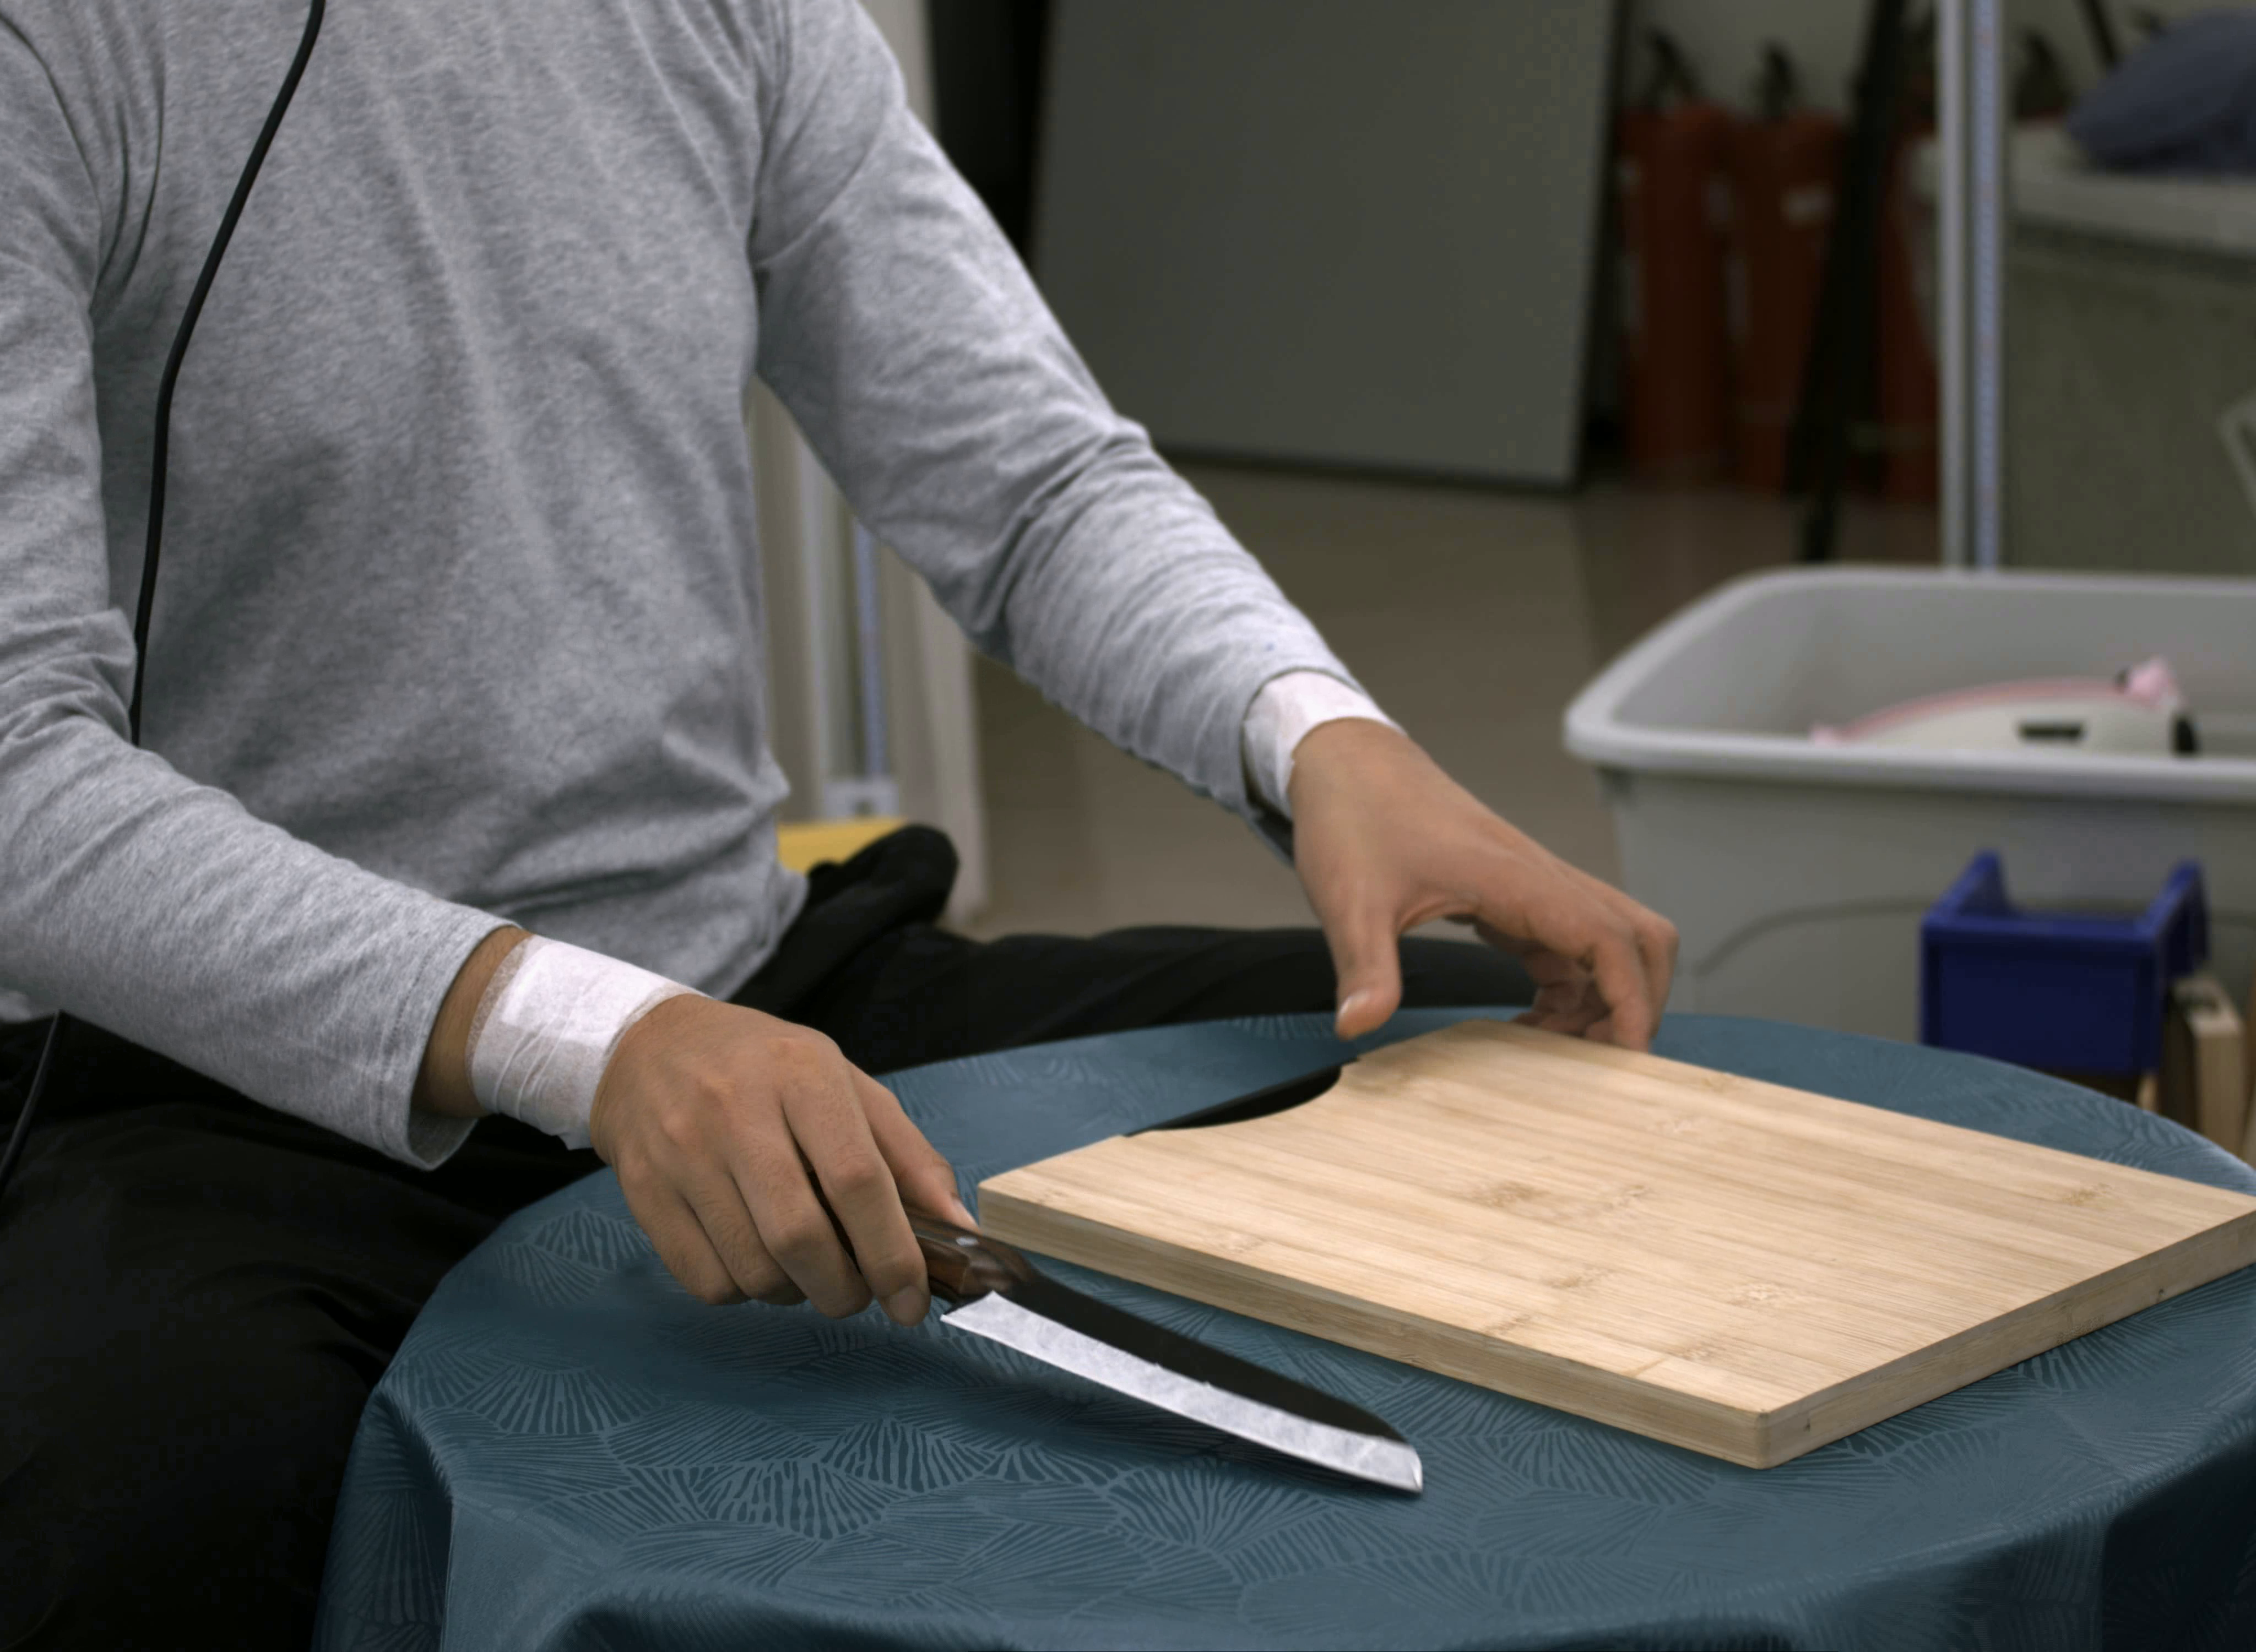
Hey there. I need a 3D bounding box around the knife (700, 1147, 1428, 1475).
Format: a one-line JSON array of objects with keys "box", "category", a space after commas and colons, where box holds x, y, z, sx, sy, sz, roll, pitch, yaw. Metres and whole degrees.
[{"box": [-0.023, 0.143, 1.578, 0.291, 0.020, 0.049, 18, 27, 40], "category": "knife"}]

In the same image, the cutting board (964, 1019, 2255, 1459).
[{"box": [0.147, 0.123, 1.690, 0.245, 0.024, 0.352, -15, 17, -40], "category": "cutting board"}]
